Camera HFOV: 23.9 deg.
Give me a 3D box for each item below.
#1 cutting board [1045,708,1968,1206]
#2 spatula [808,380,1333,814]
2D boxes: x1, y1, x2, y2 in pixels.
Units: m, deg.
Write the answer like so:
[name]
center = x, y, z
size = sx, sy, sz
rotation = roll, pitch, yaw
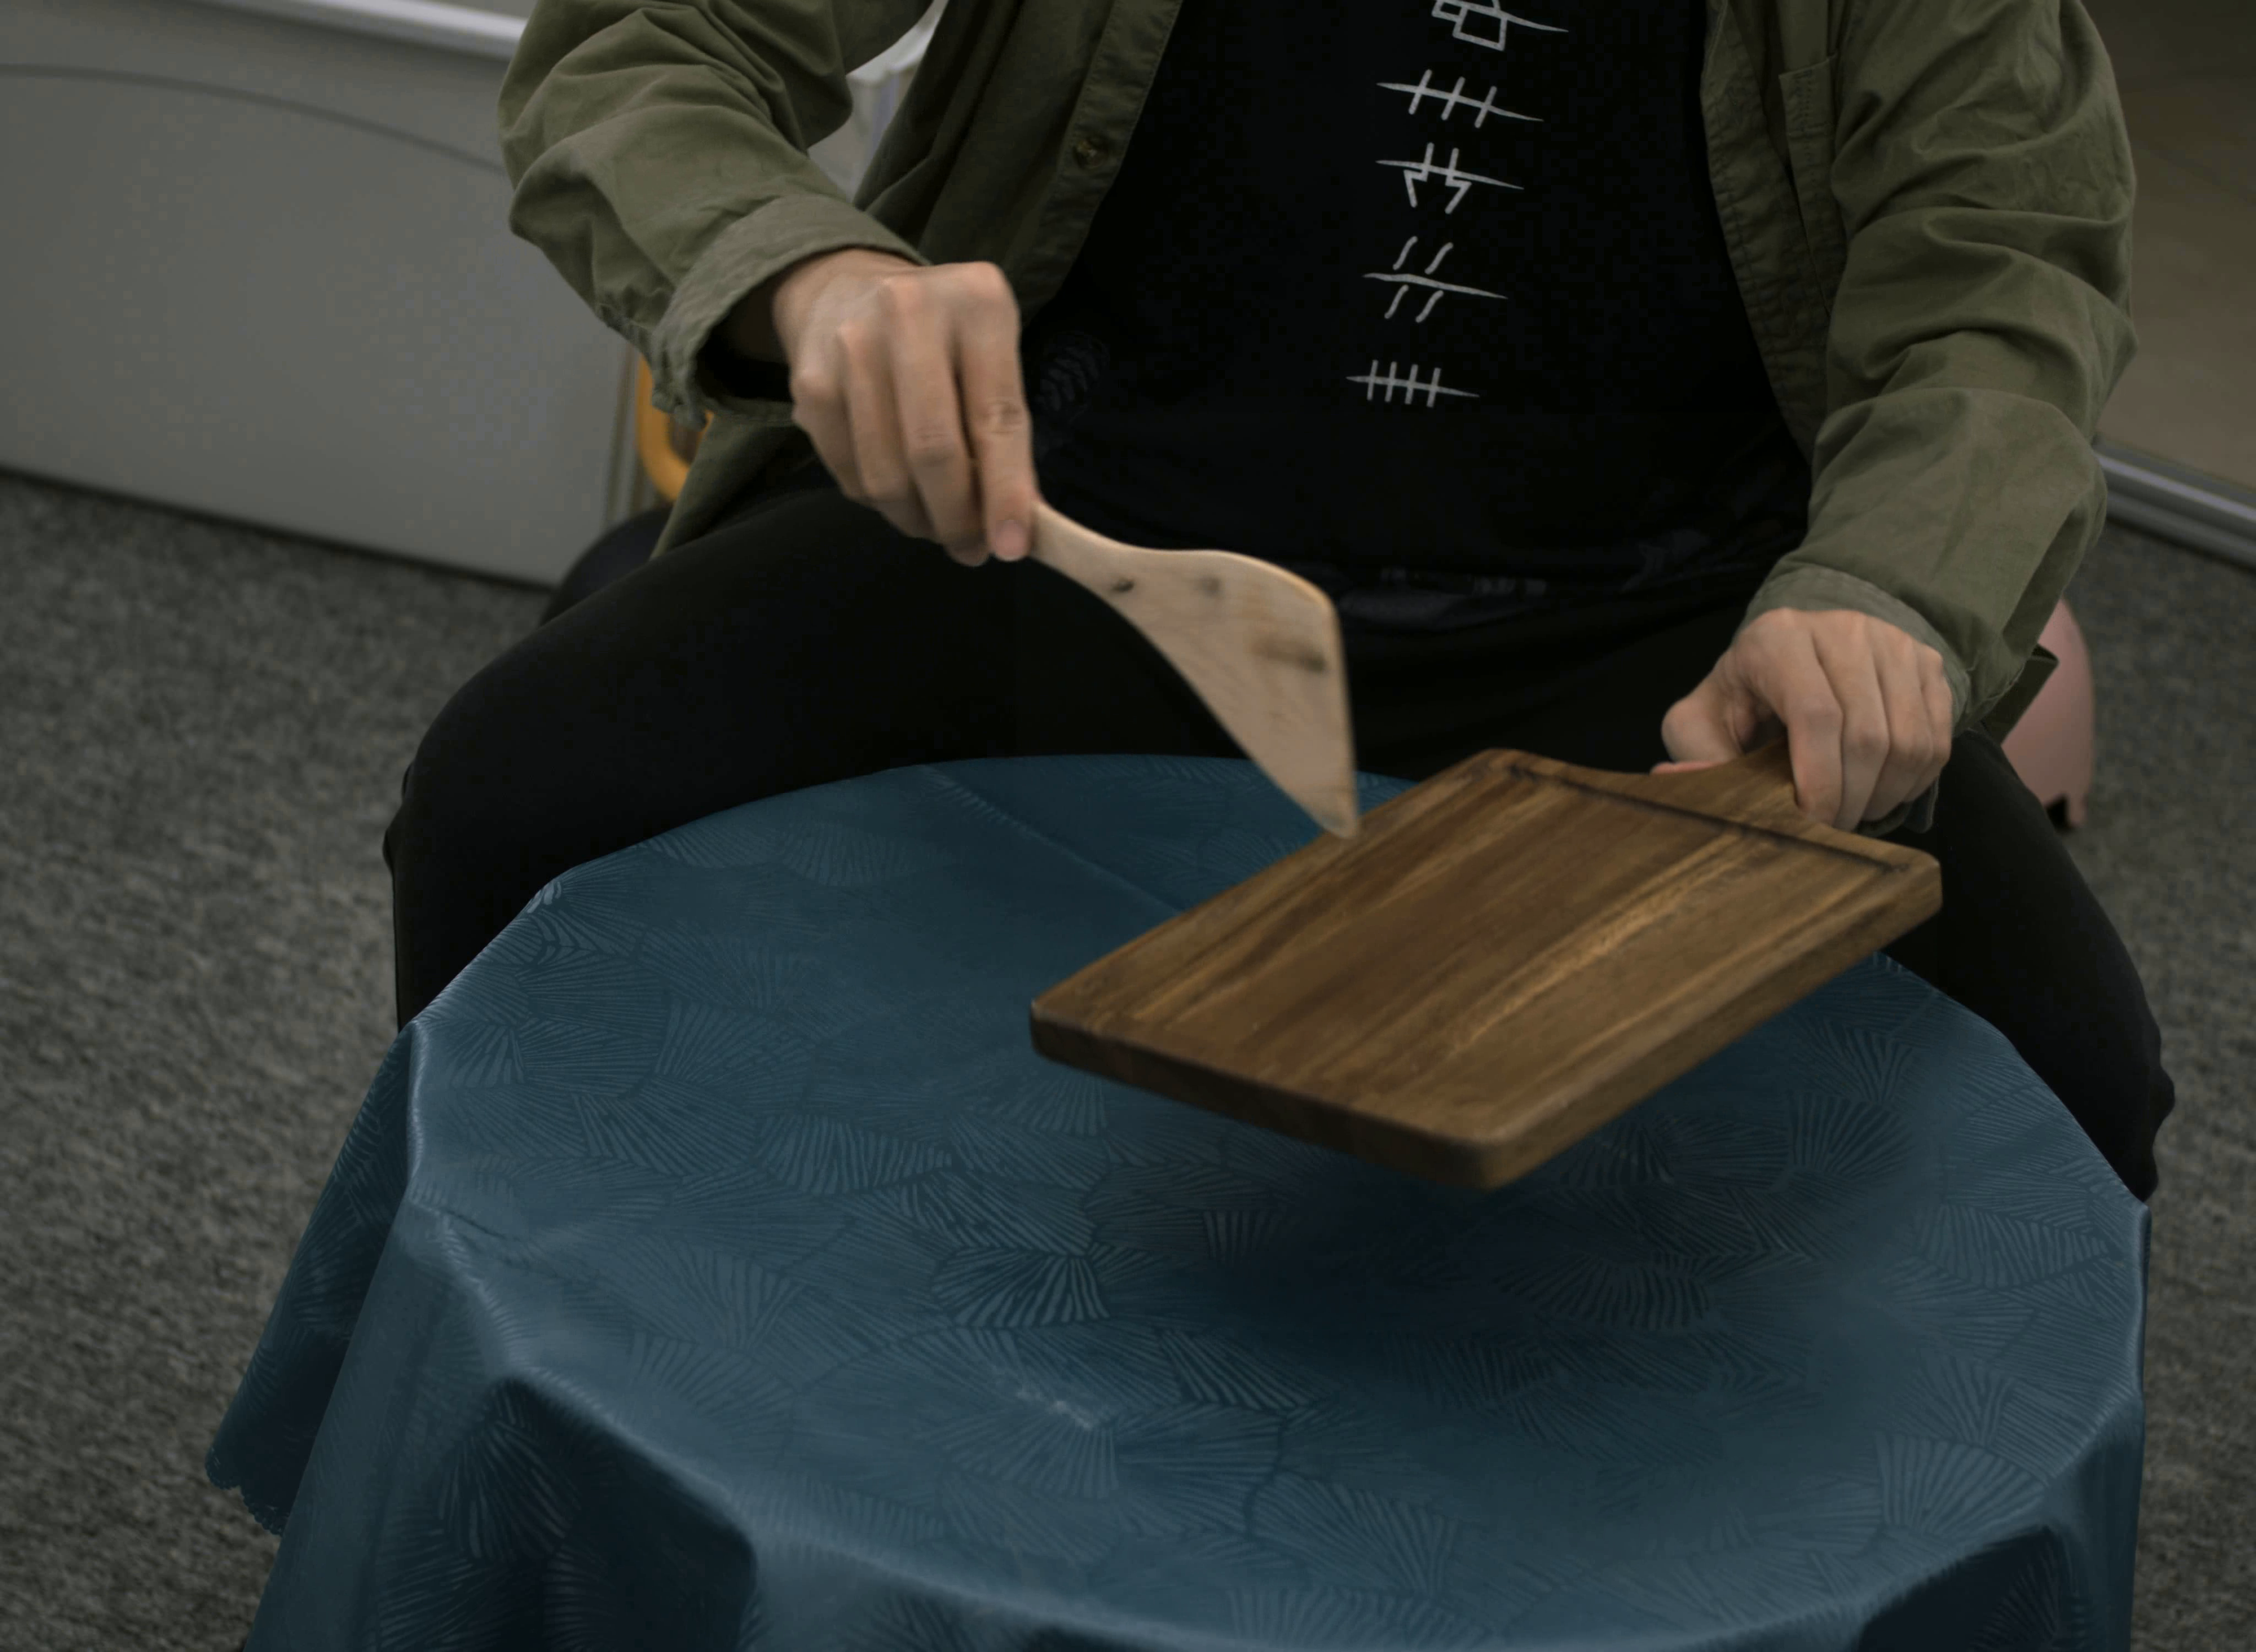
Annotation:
[cutting board]
center = 0.159, 0.029, 1.774
size = 0.202, 0.023, 0.351
rotation = 15, 31, 42
[spatula]
center = -0.024, -0.093, 1.762
size = 0.016, 0.079, 0.330
rotation = -18, 29, -29
